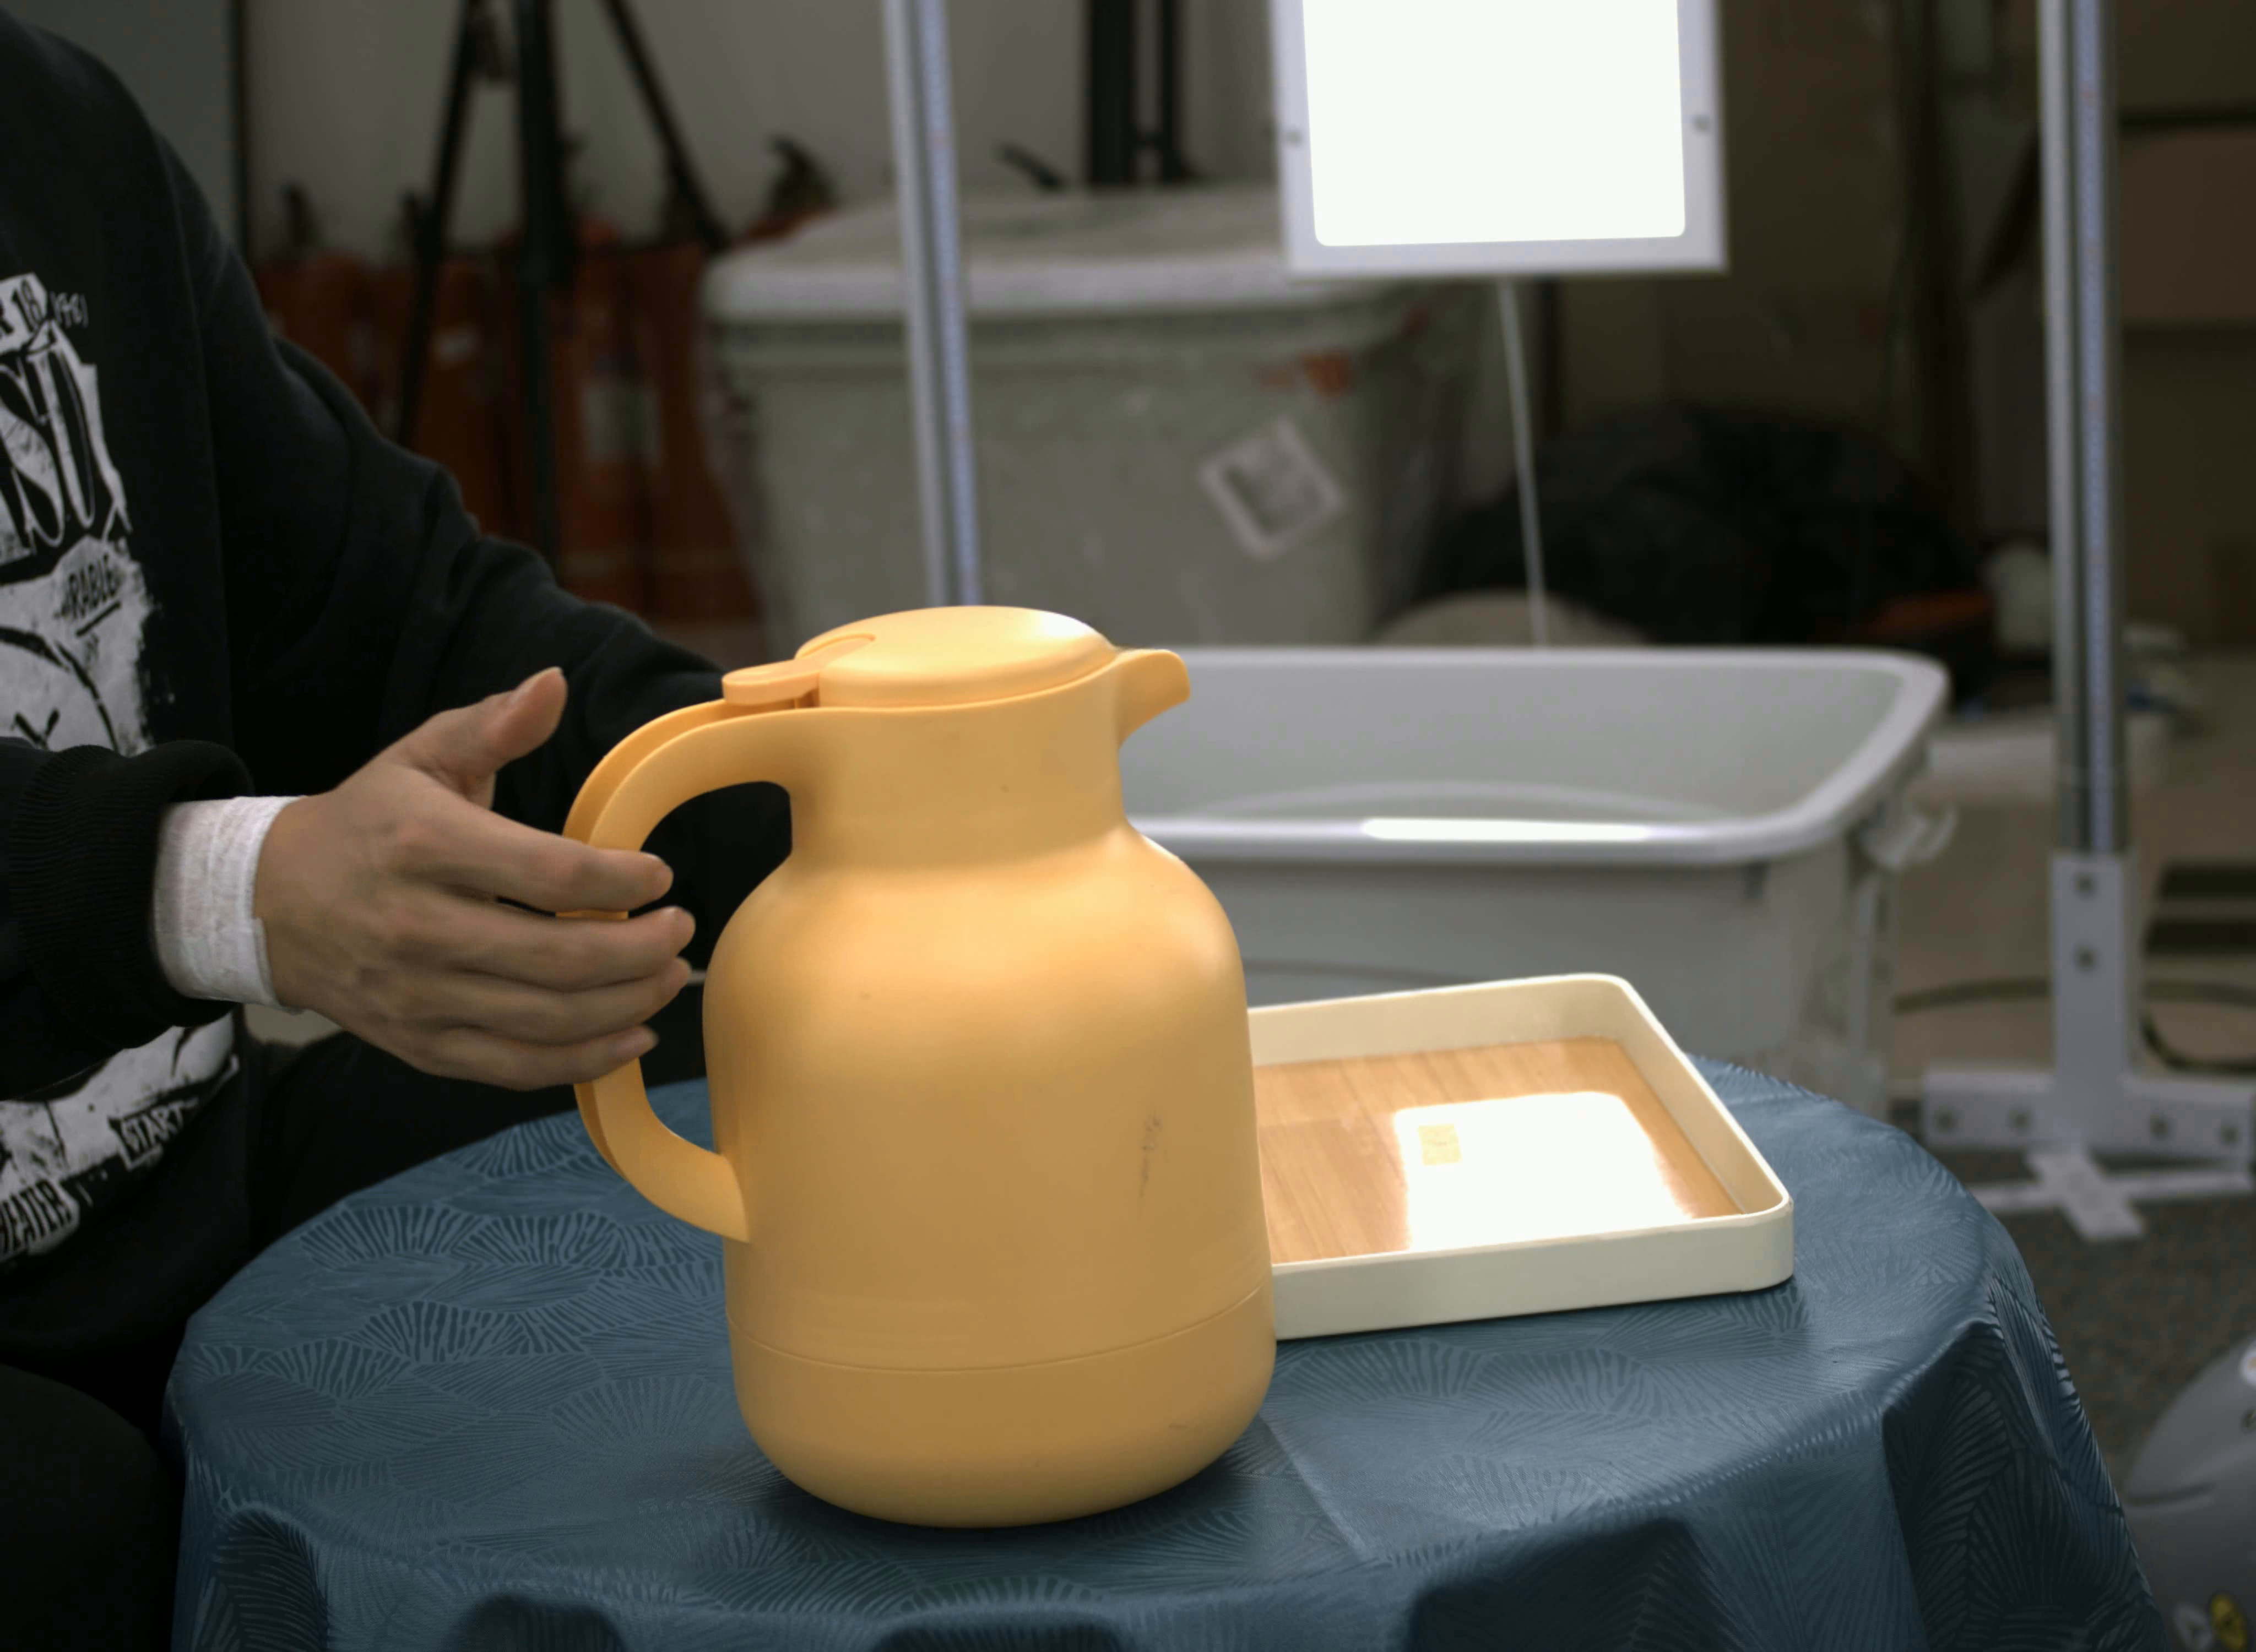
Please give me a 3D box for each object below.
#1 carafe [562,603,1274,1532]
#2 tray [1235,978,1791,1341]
[{"bbox_3d":[-0.062,0.069,1.614,0.199,0.261,0.165,-8,12,-16],"label":"carafe"},{"bbox_3d":[0.105,0.109,1.875,0.190,0.027,0.301,-6,14,-4],"label":"tray"}]
